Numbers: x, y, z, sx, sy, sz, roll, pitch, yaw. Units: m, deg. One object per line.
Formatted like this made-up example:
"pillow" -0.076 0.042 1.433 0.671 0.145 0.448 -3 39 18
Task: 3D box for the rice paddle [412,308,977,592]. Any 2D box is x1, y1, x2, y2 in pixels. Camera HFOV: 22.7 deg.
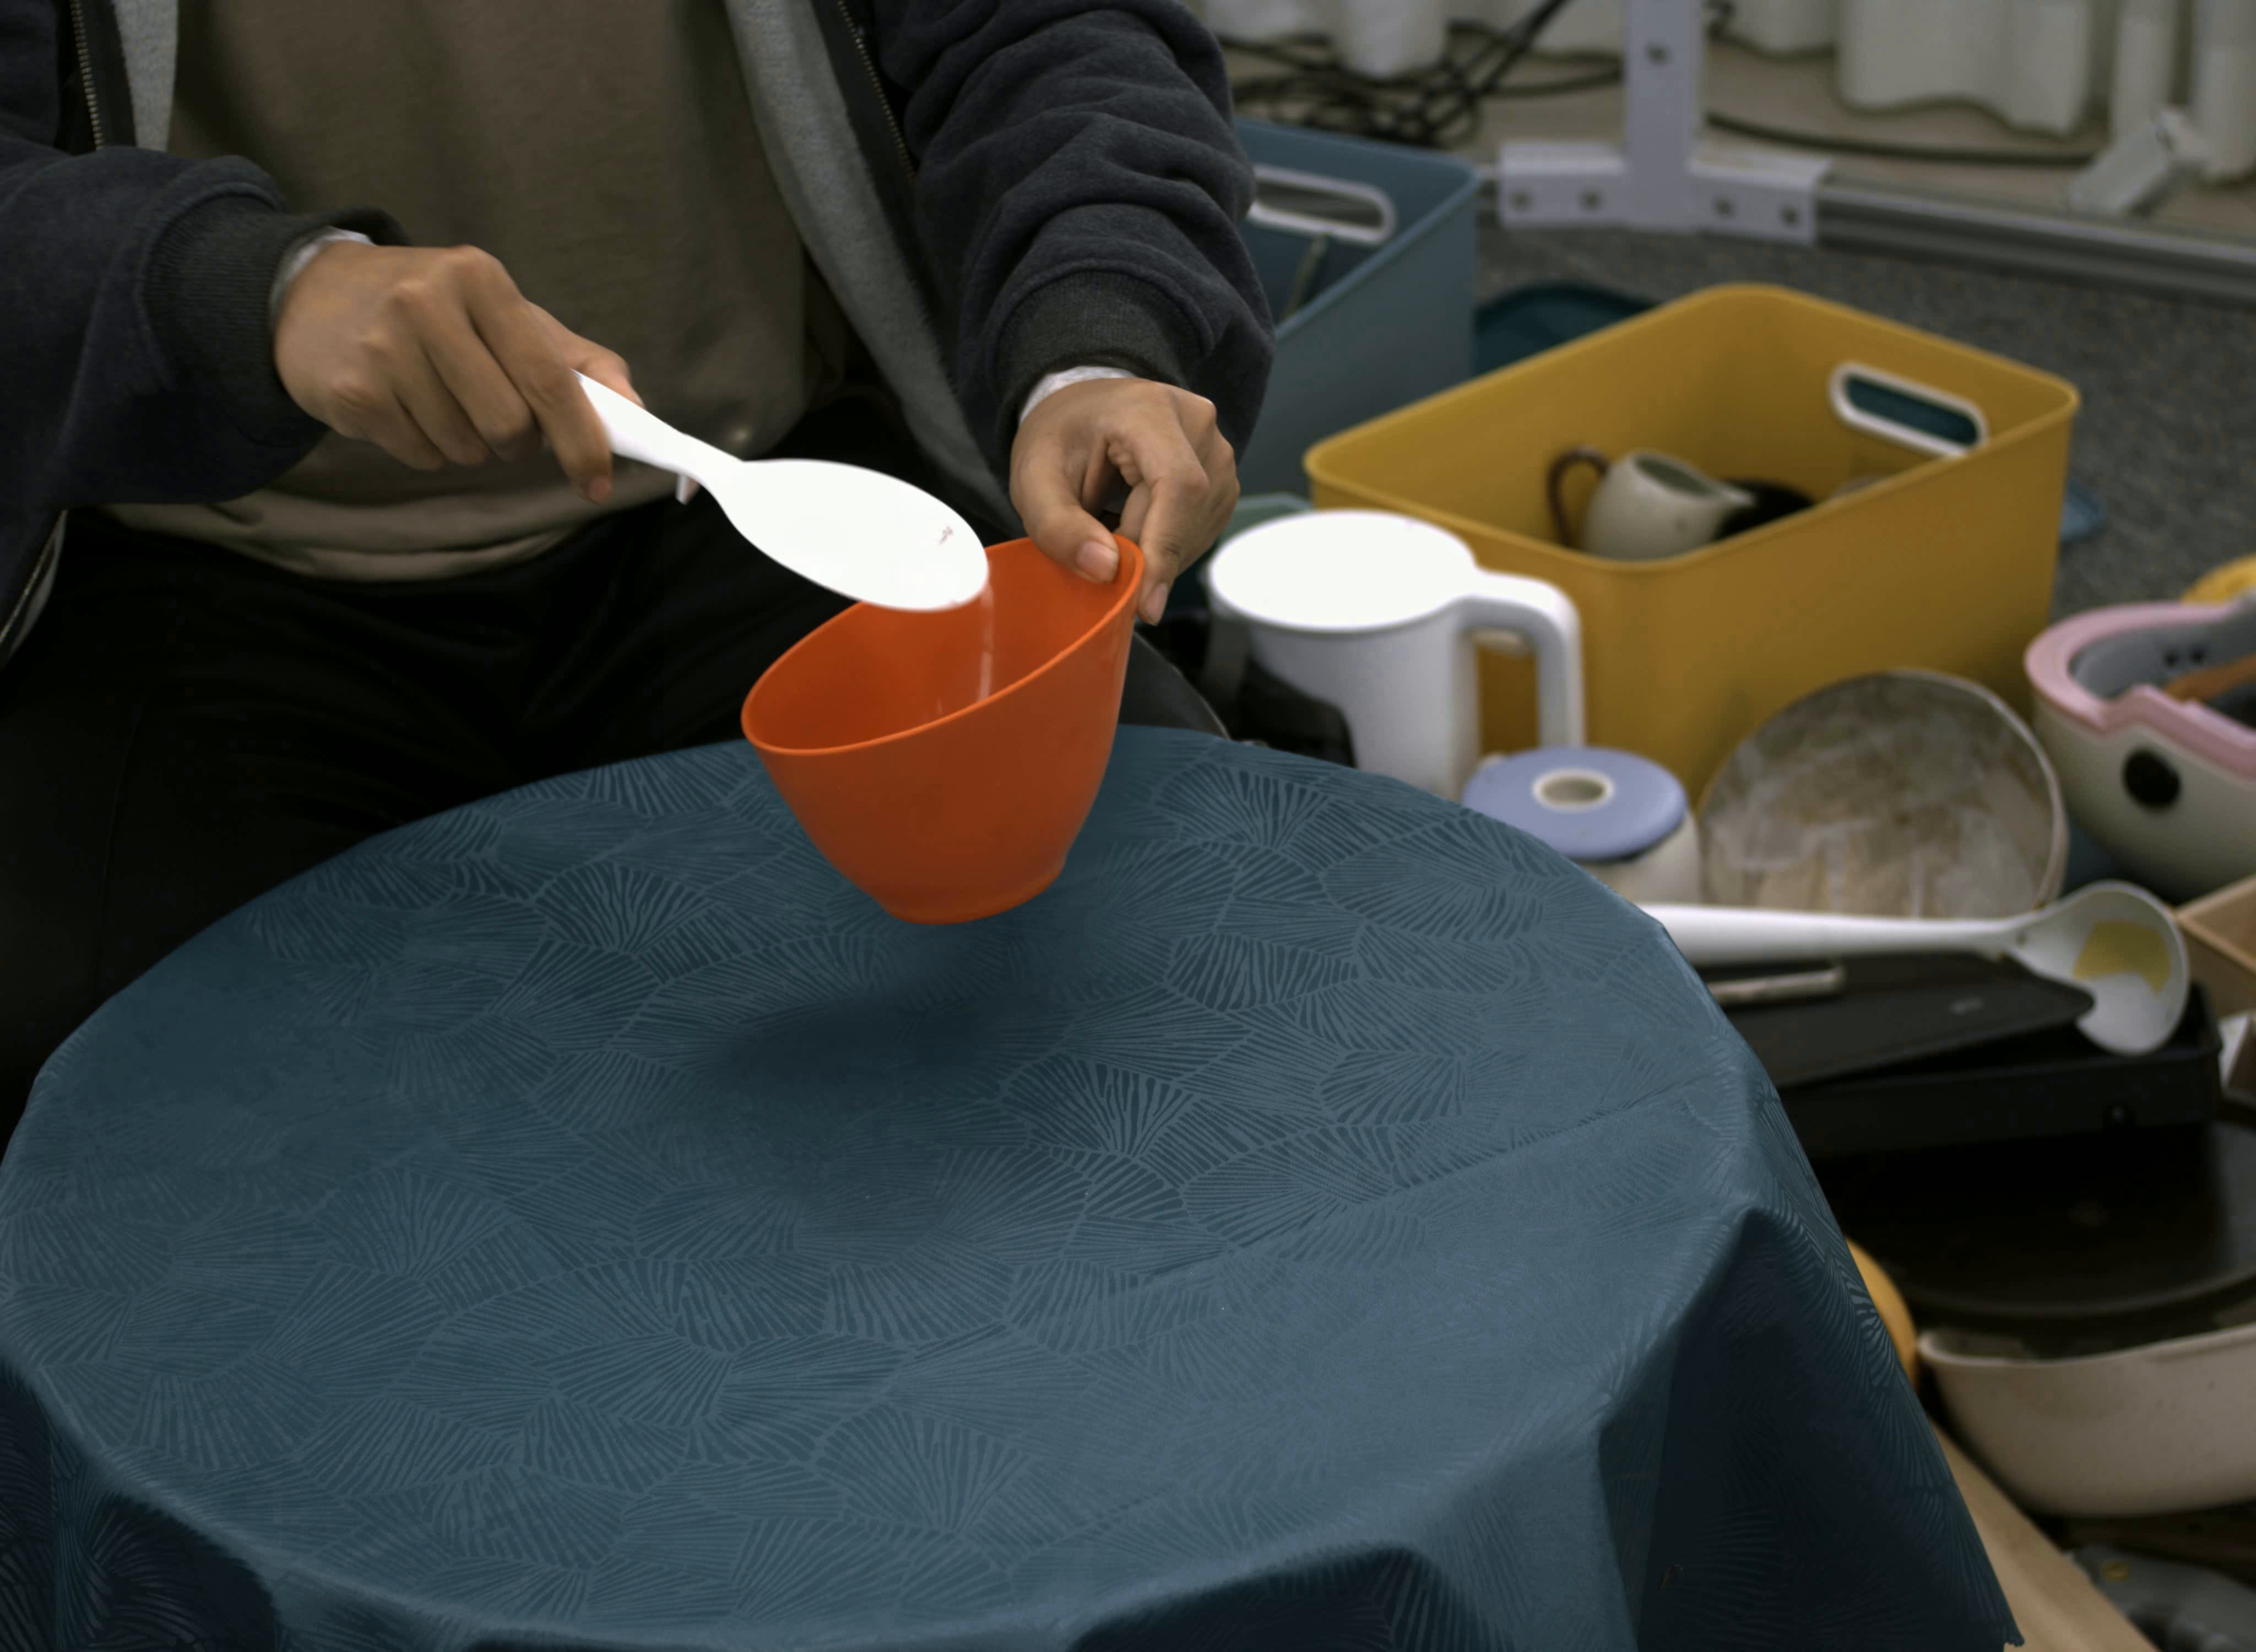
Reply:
"rice paddle" -0.145 -0.126 1.915 0.204 0.029 0.070 22 40 9

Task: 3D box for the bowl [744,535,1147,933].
"bowl" -0.053 -0.025 1.923 0.147 0.104 0.150 -12 24 6
